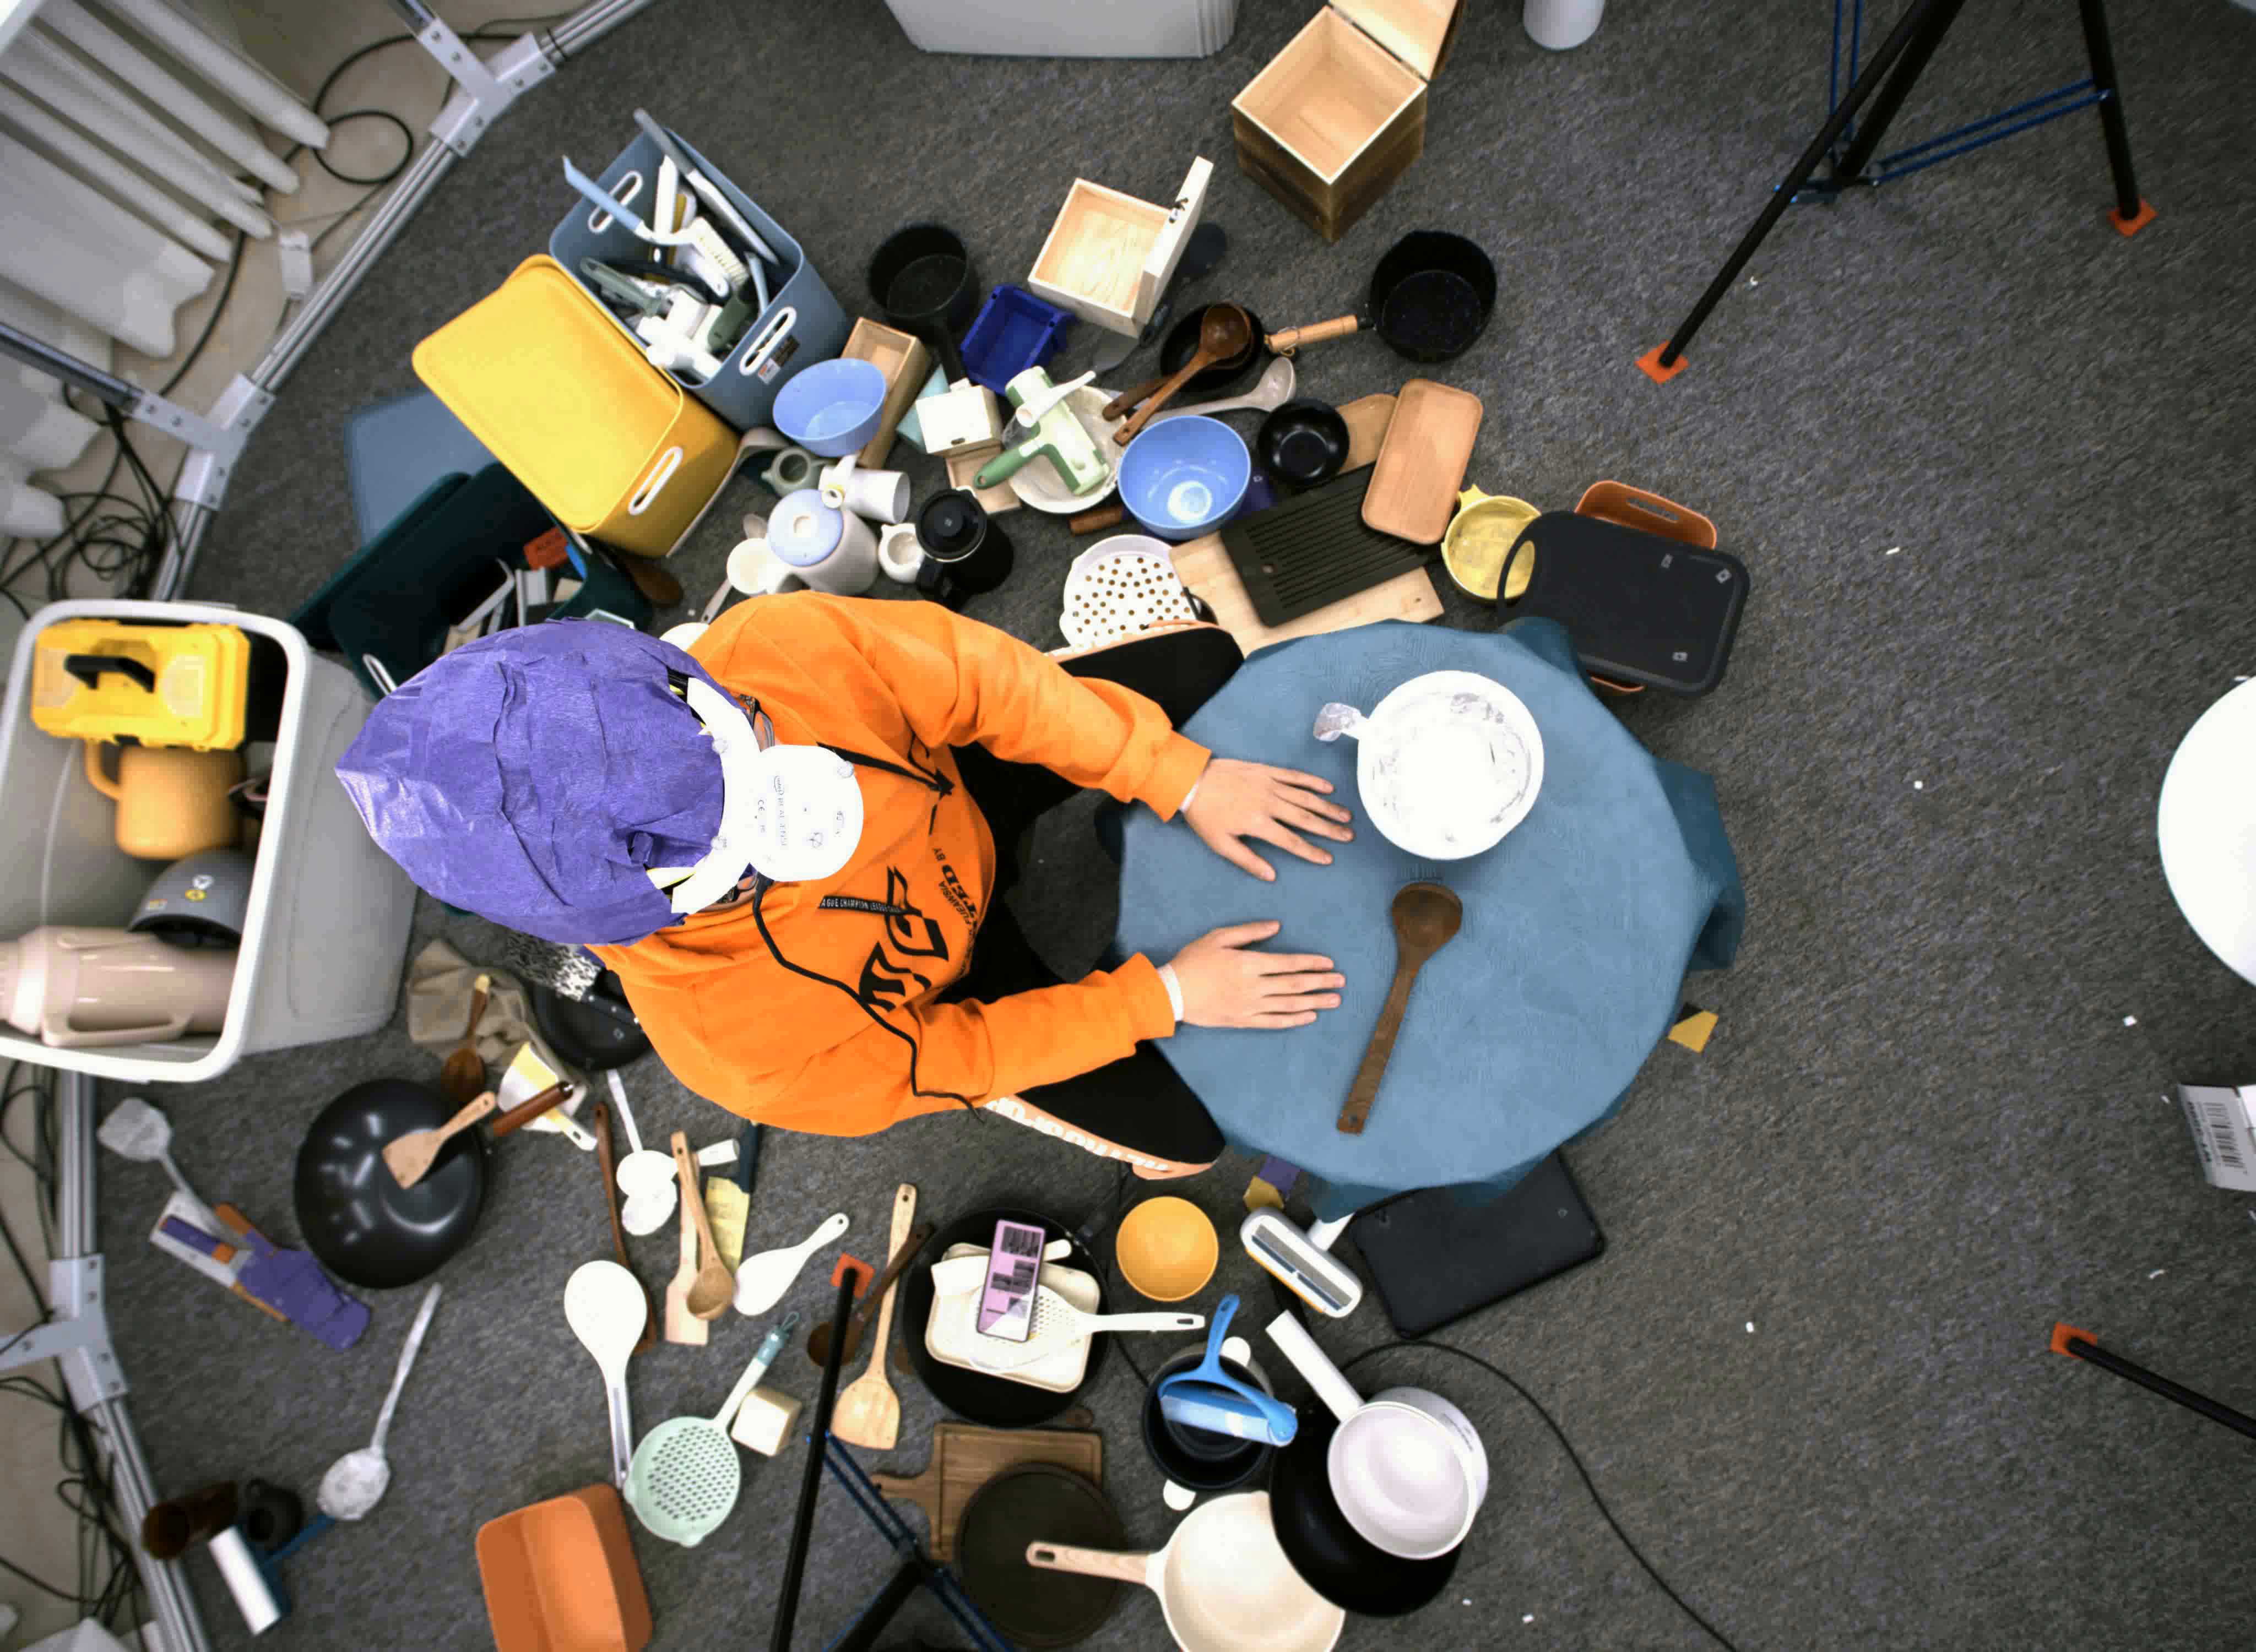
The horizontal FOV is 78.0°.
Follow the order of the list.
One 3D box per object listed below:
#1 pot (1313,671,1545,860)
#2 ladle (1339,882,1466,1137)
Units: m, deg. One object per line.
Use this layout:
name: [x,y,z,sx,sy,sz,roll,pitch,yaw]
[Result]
pot: [0.297,-0.069,1.393,0.233,0.137,0.178,23,90,11]
ladle: [0.273,0.189,1.417,0.076,0.071,0.274,20,90,14]
